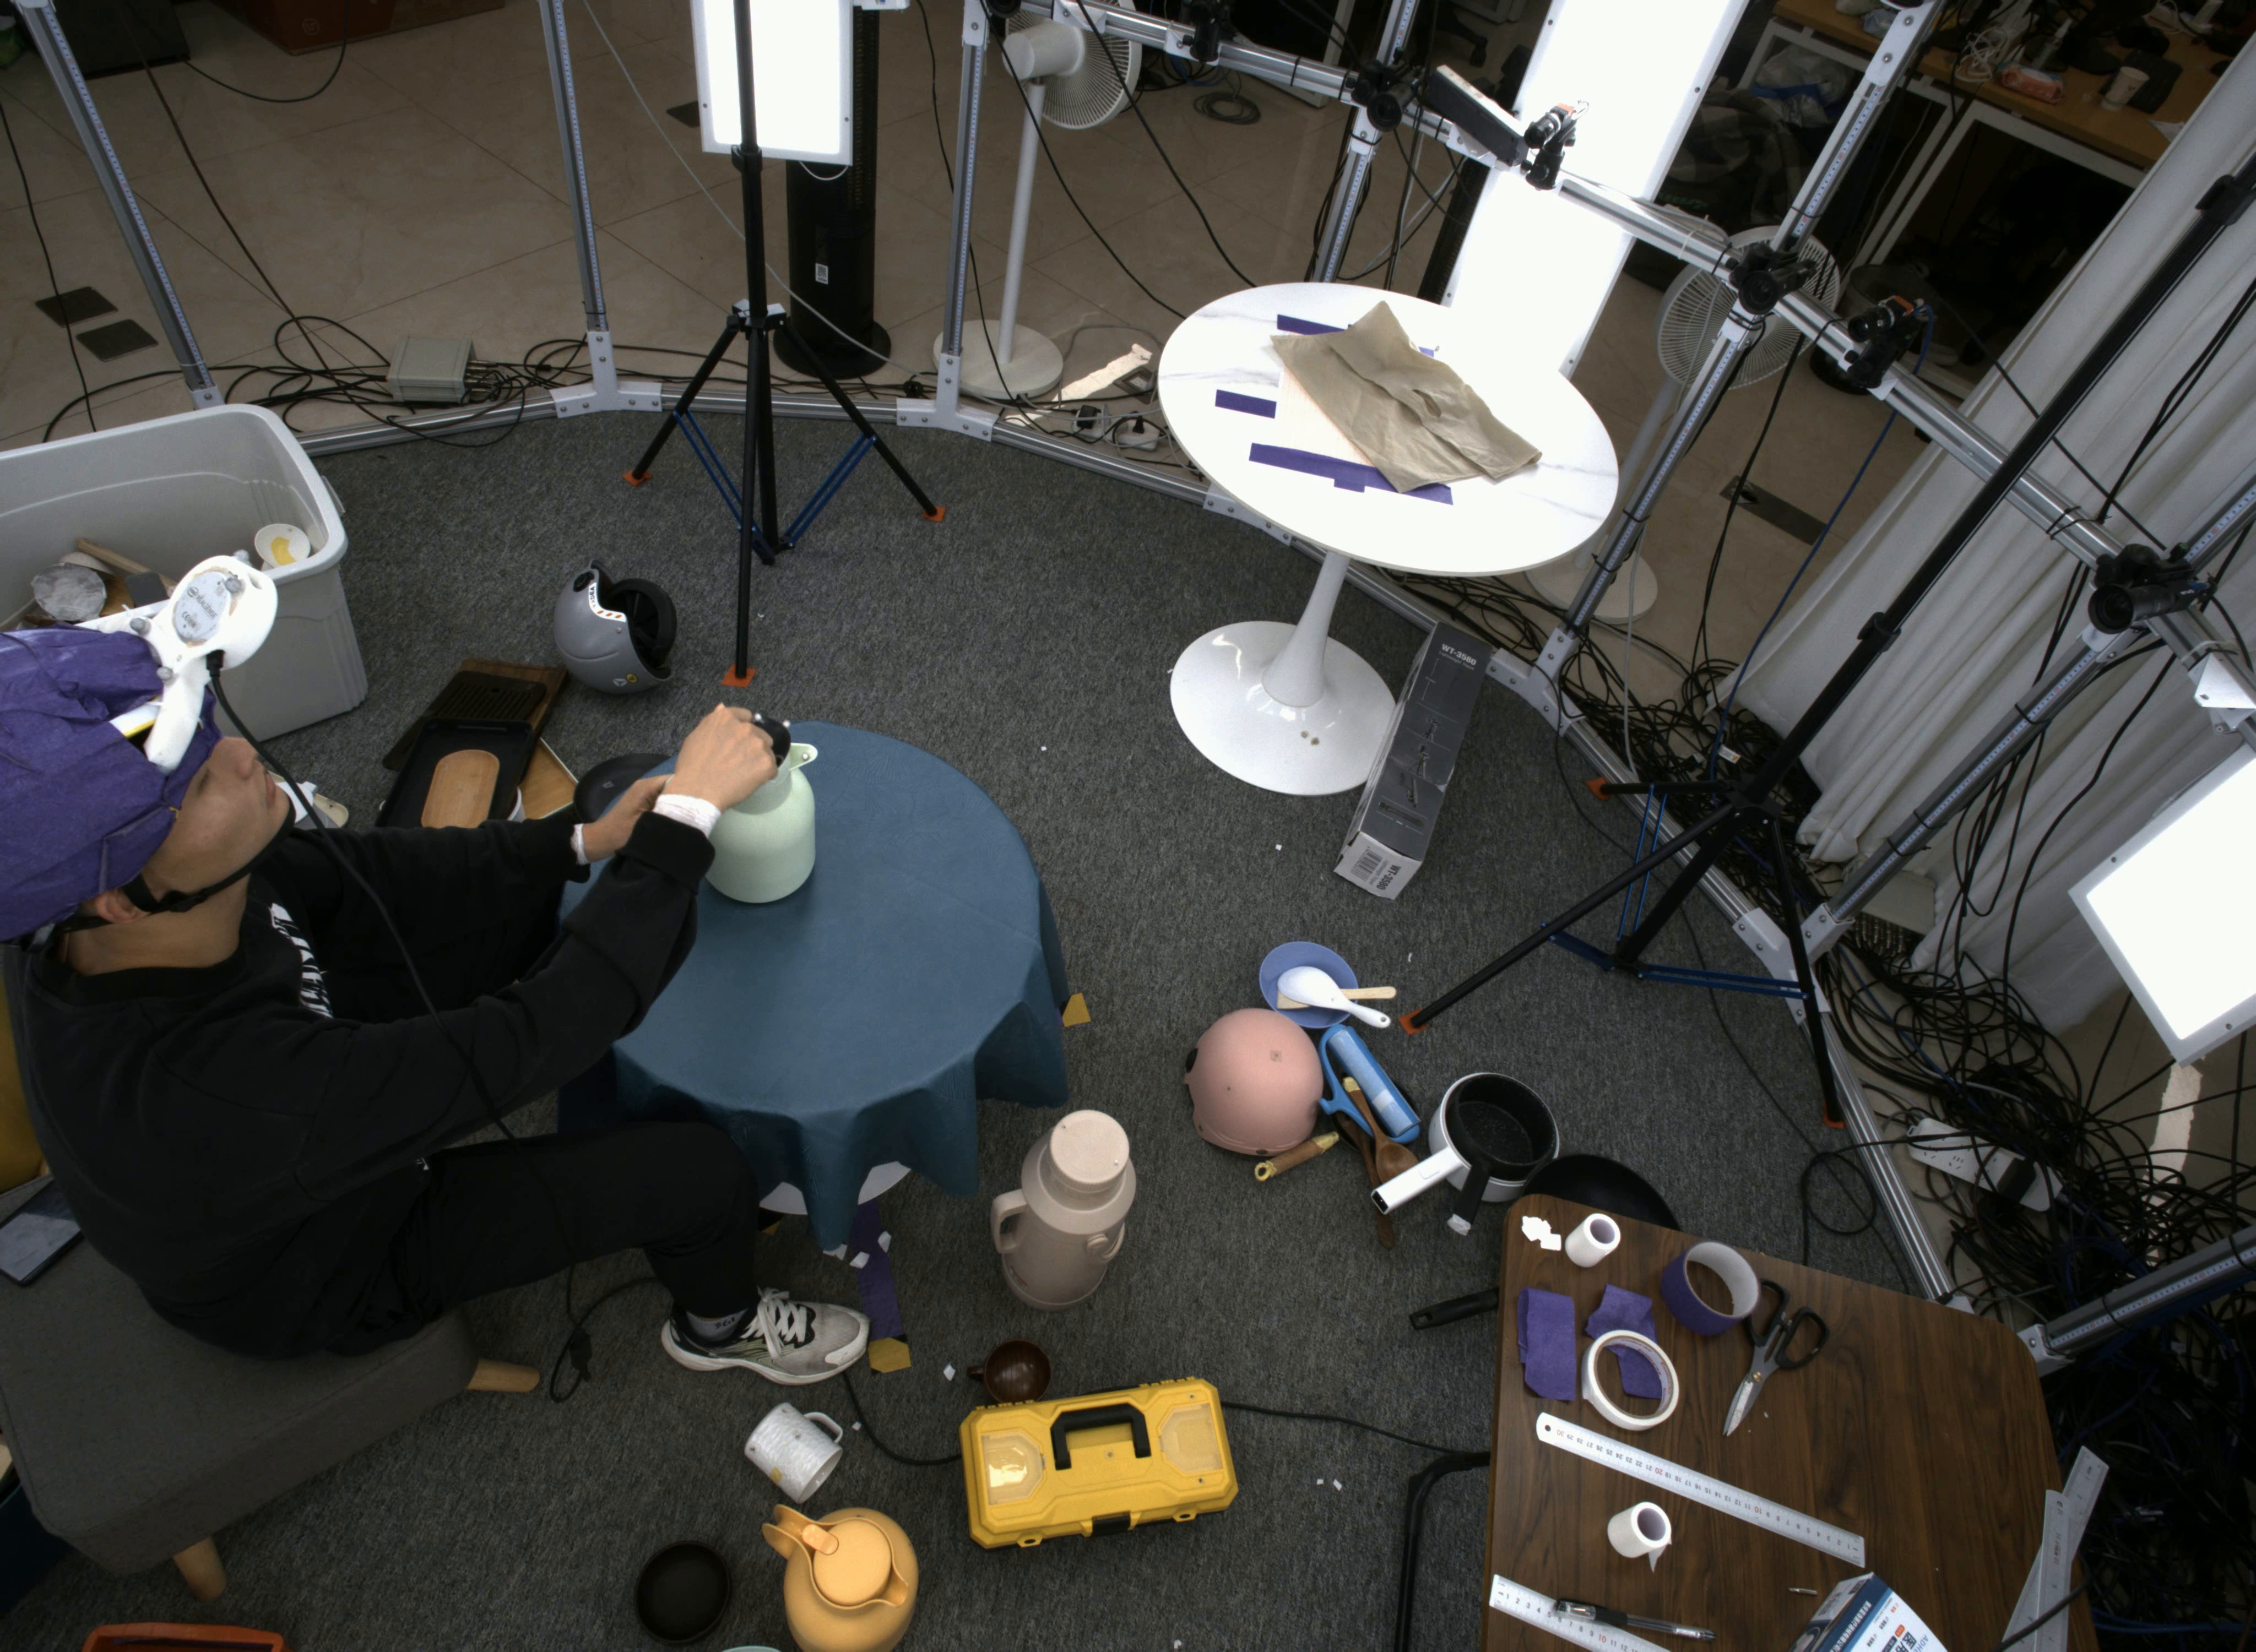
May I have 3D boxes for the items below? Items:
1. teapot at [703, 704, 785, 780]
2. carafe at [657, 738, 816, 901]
[{"bbox_3d":[-0.403,-0.087,1.350,0.091,0.134,0.052,-35,79,-10],"label":"teapot"},{"bbox_3d":[-0.466,-0.024,1.559,0.187,0.261,0.142,-15,65,-18],"label":"carafe"}]
